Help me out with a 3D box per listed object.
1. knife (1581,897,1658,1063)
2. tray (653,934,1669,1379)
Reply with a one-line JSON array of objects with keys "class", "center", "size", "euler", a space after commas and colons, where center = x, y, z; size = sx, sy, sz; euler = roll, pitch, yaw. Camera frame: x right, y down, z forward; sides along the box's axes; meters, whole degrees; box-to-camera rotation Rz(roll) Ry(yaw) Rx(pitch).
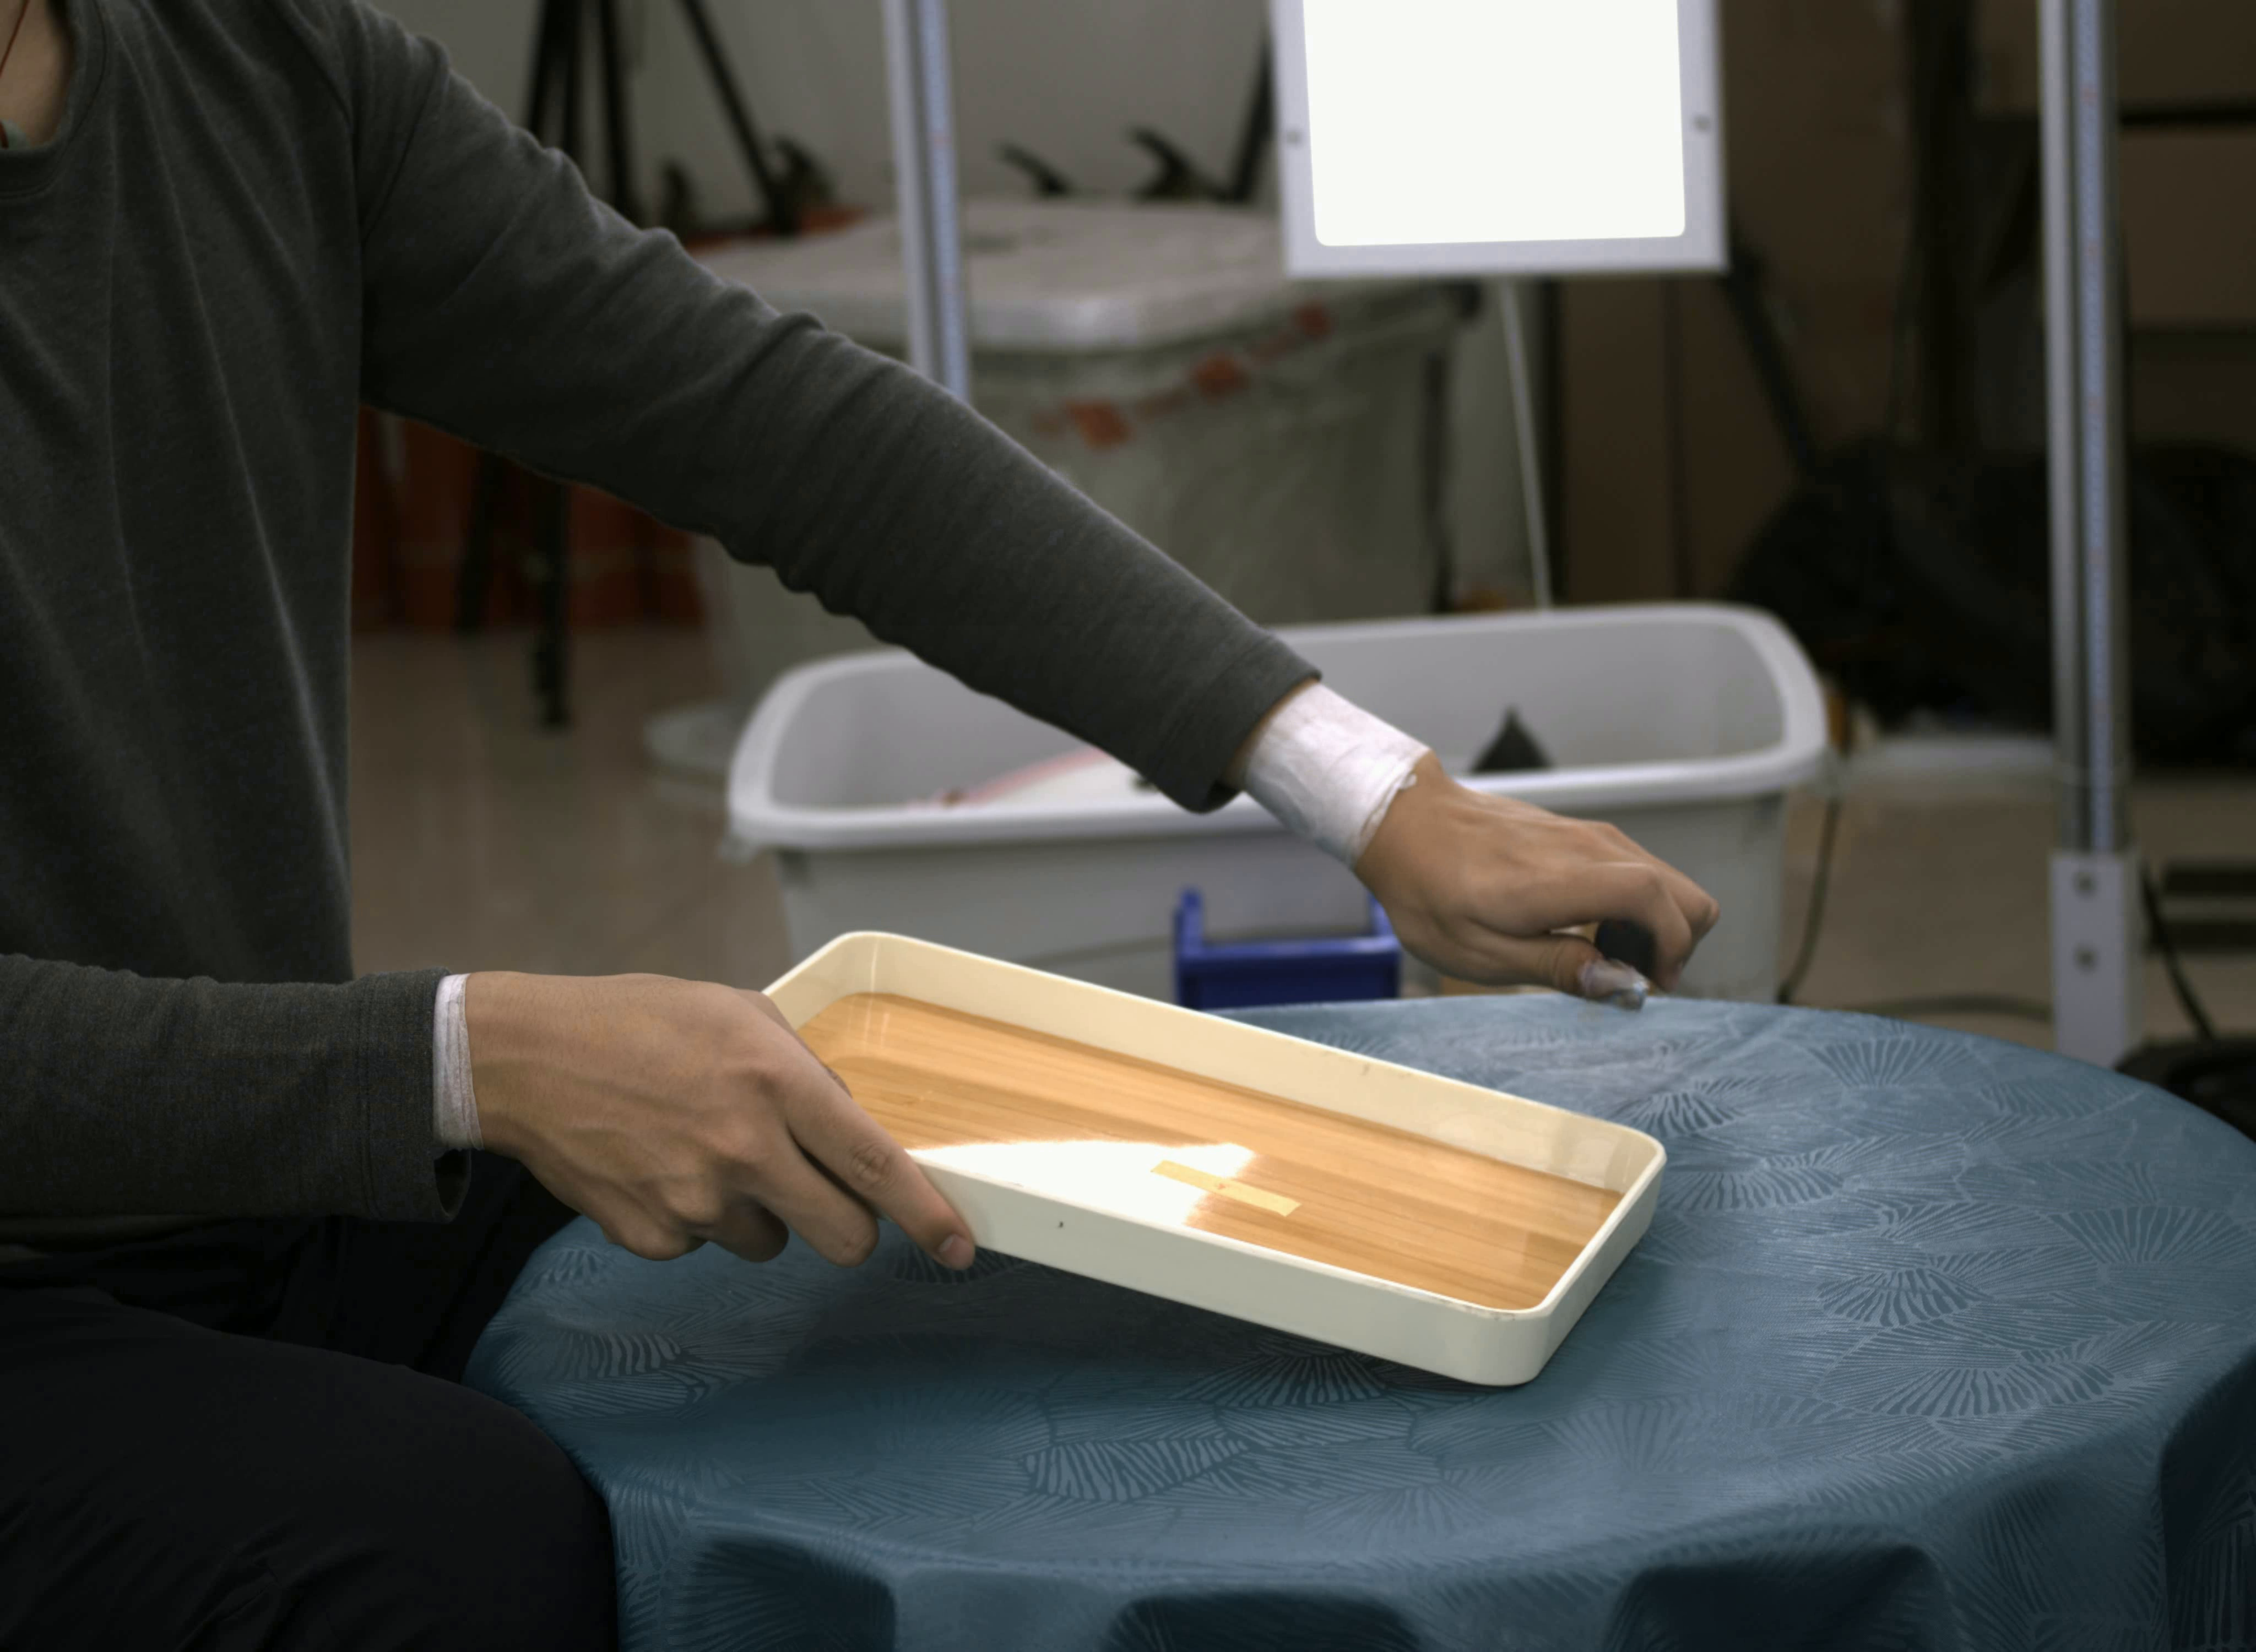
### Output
[{"class": "knife", "center": [0.168, 0.053, 1.882], "size": [0.024, 0.016, 0.236], "euler": [9, 12, 6]}, {"class": "tray", "center": [0.013, 0.104, 1.792], "size": [0.303, 0.027, 0.188], "euler": [14, 18, 18]}]
